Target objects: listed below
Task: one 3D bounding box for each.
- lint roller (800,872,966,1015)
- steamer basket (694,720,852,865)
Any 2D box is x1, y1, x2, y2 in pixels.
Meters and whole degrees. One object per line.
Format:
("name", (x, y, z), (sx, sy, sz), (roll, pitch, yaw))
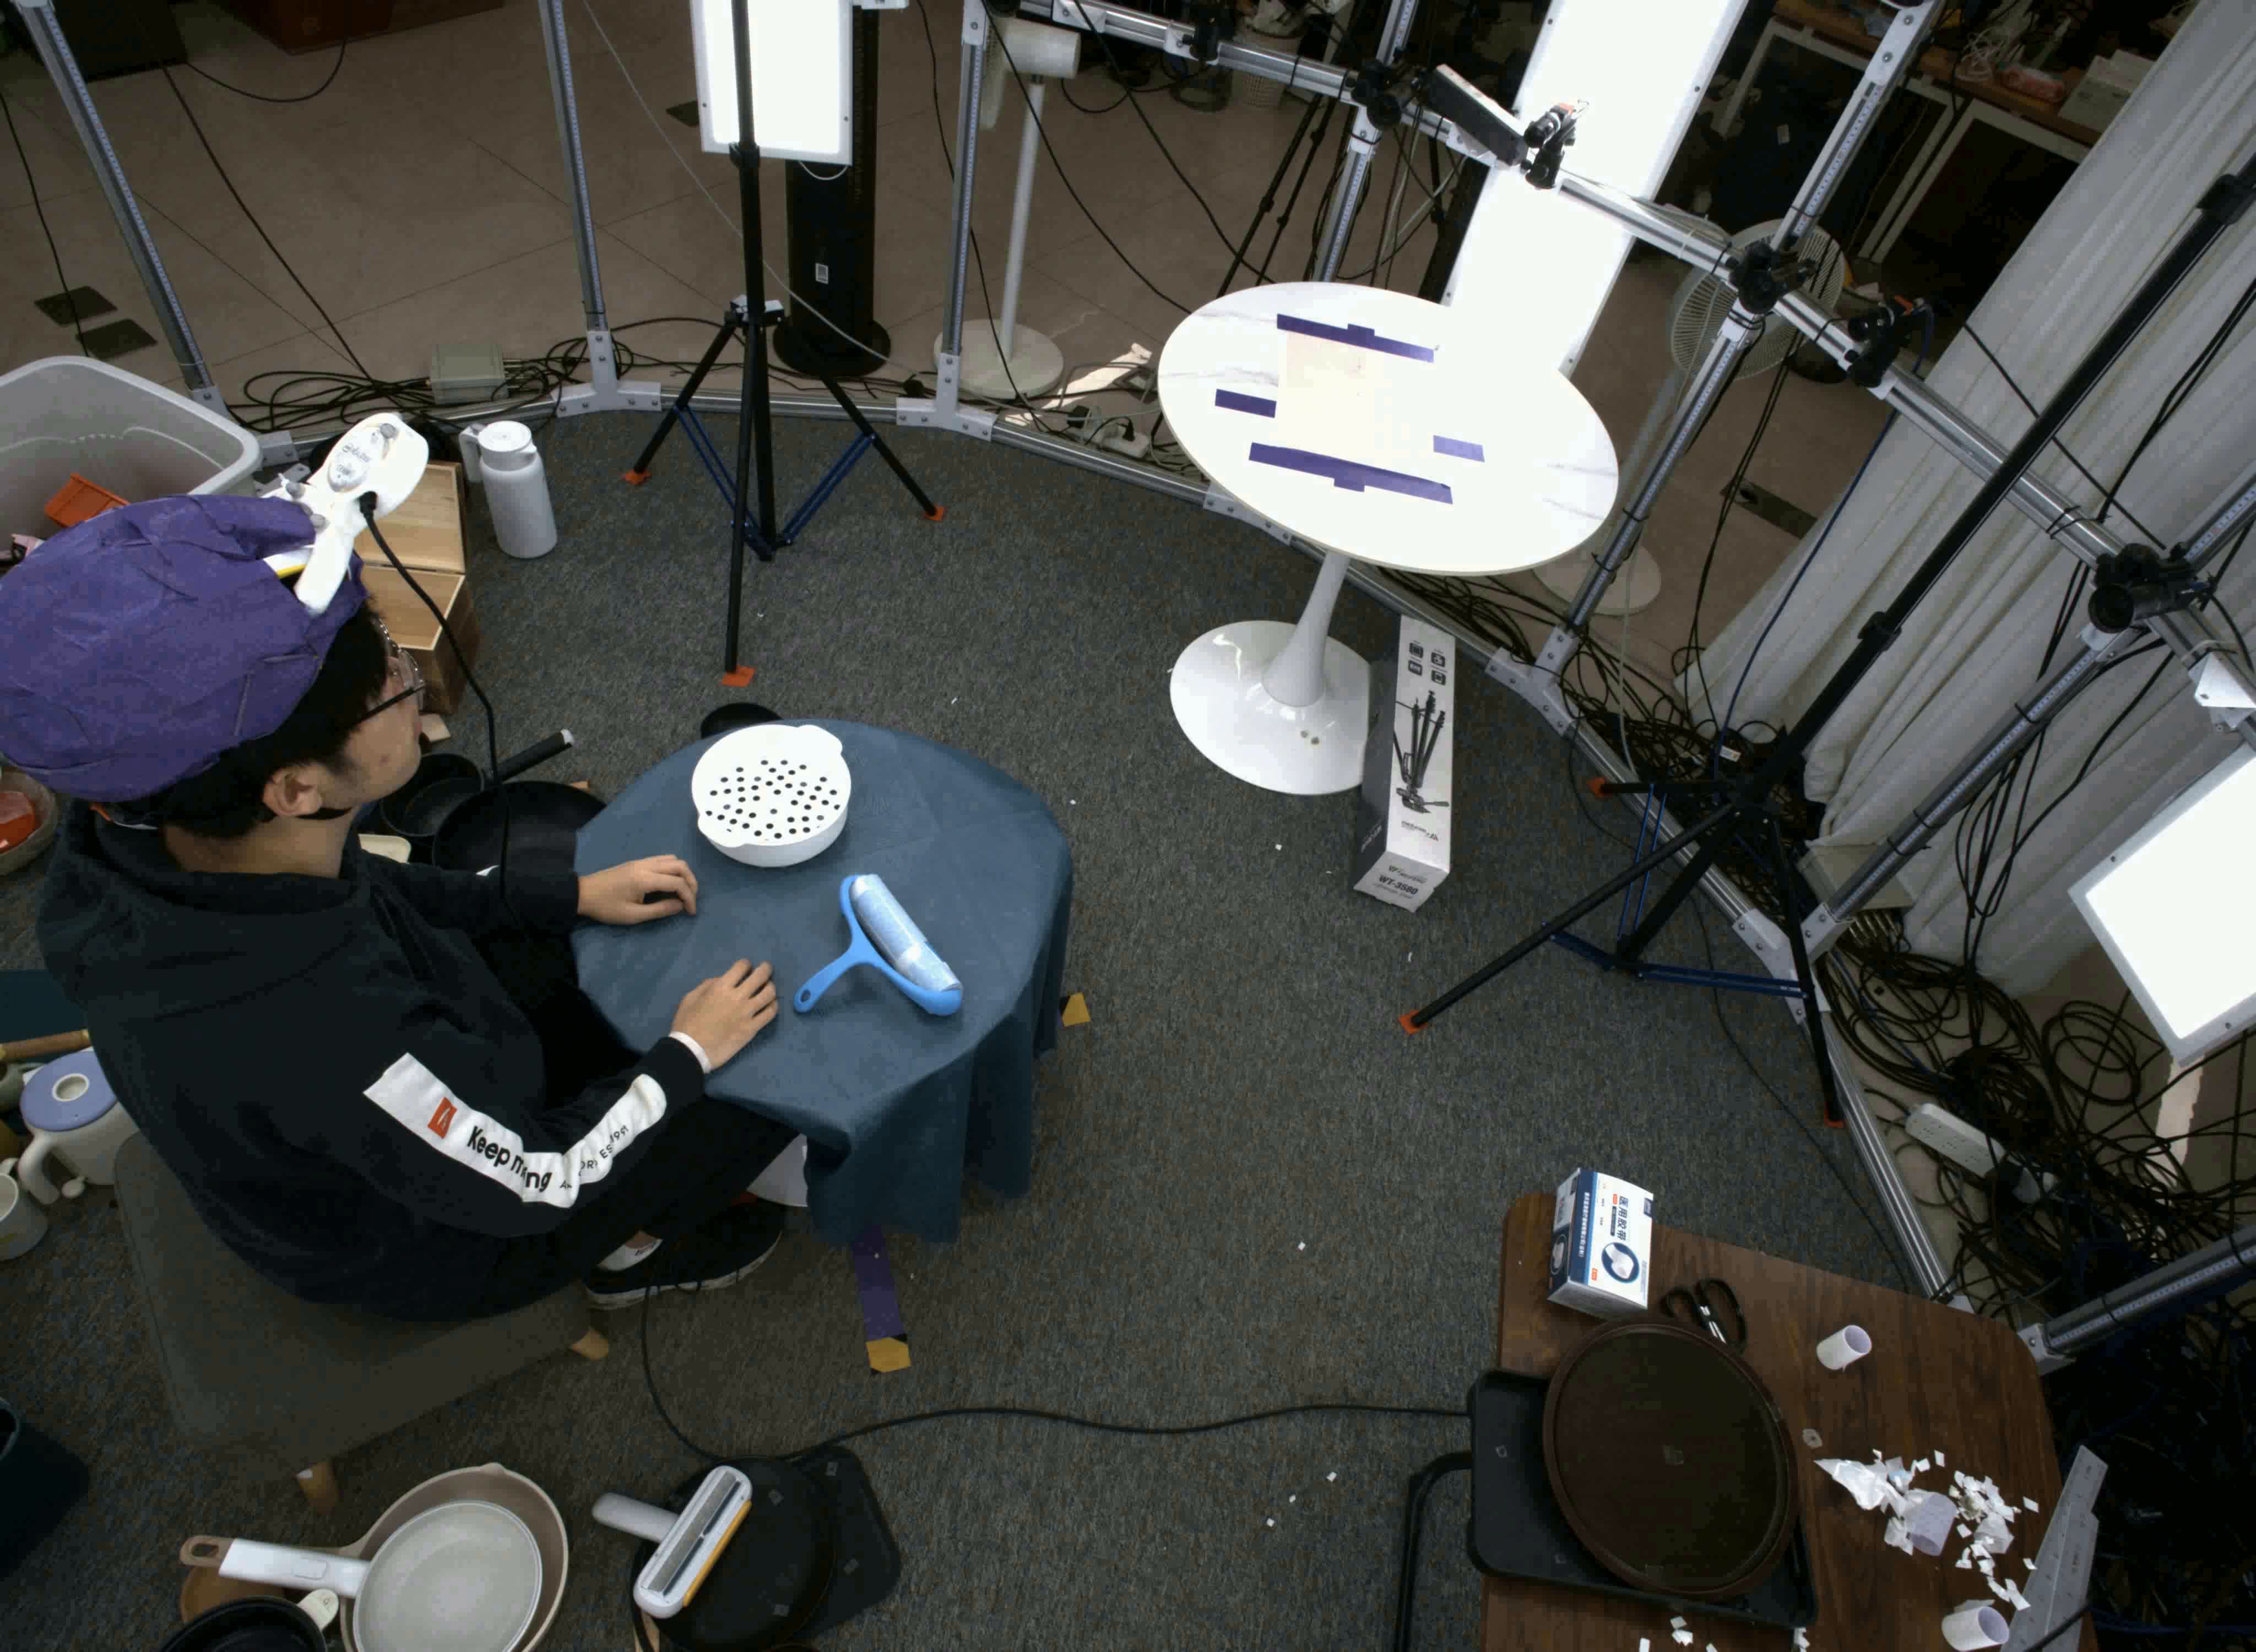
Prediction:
("lint roller", (-0.323, 0.168, 1.598), (0.181, 0.069, 0.224), (-33, 70, -33))
("steamer basket", (-0.465, -0.043, 1.706), (0.198, 0.070, 0.230), (30, 53, 10))
